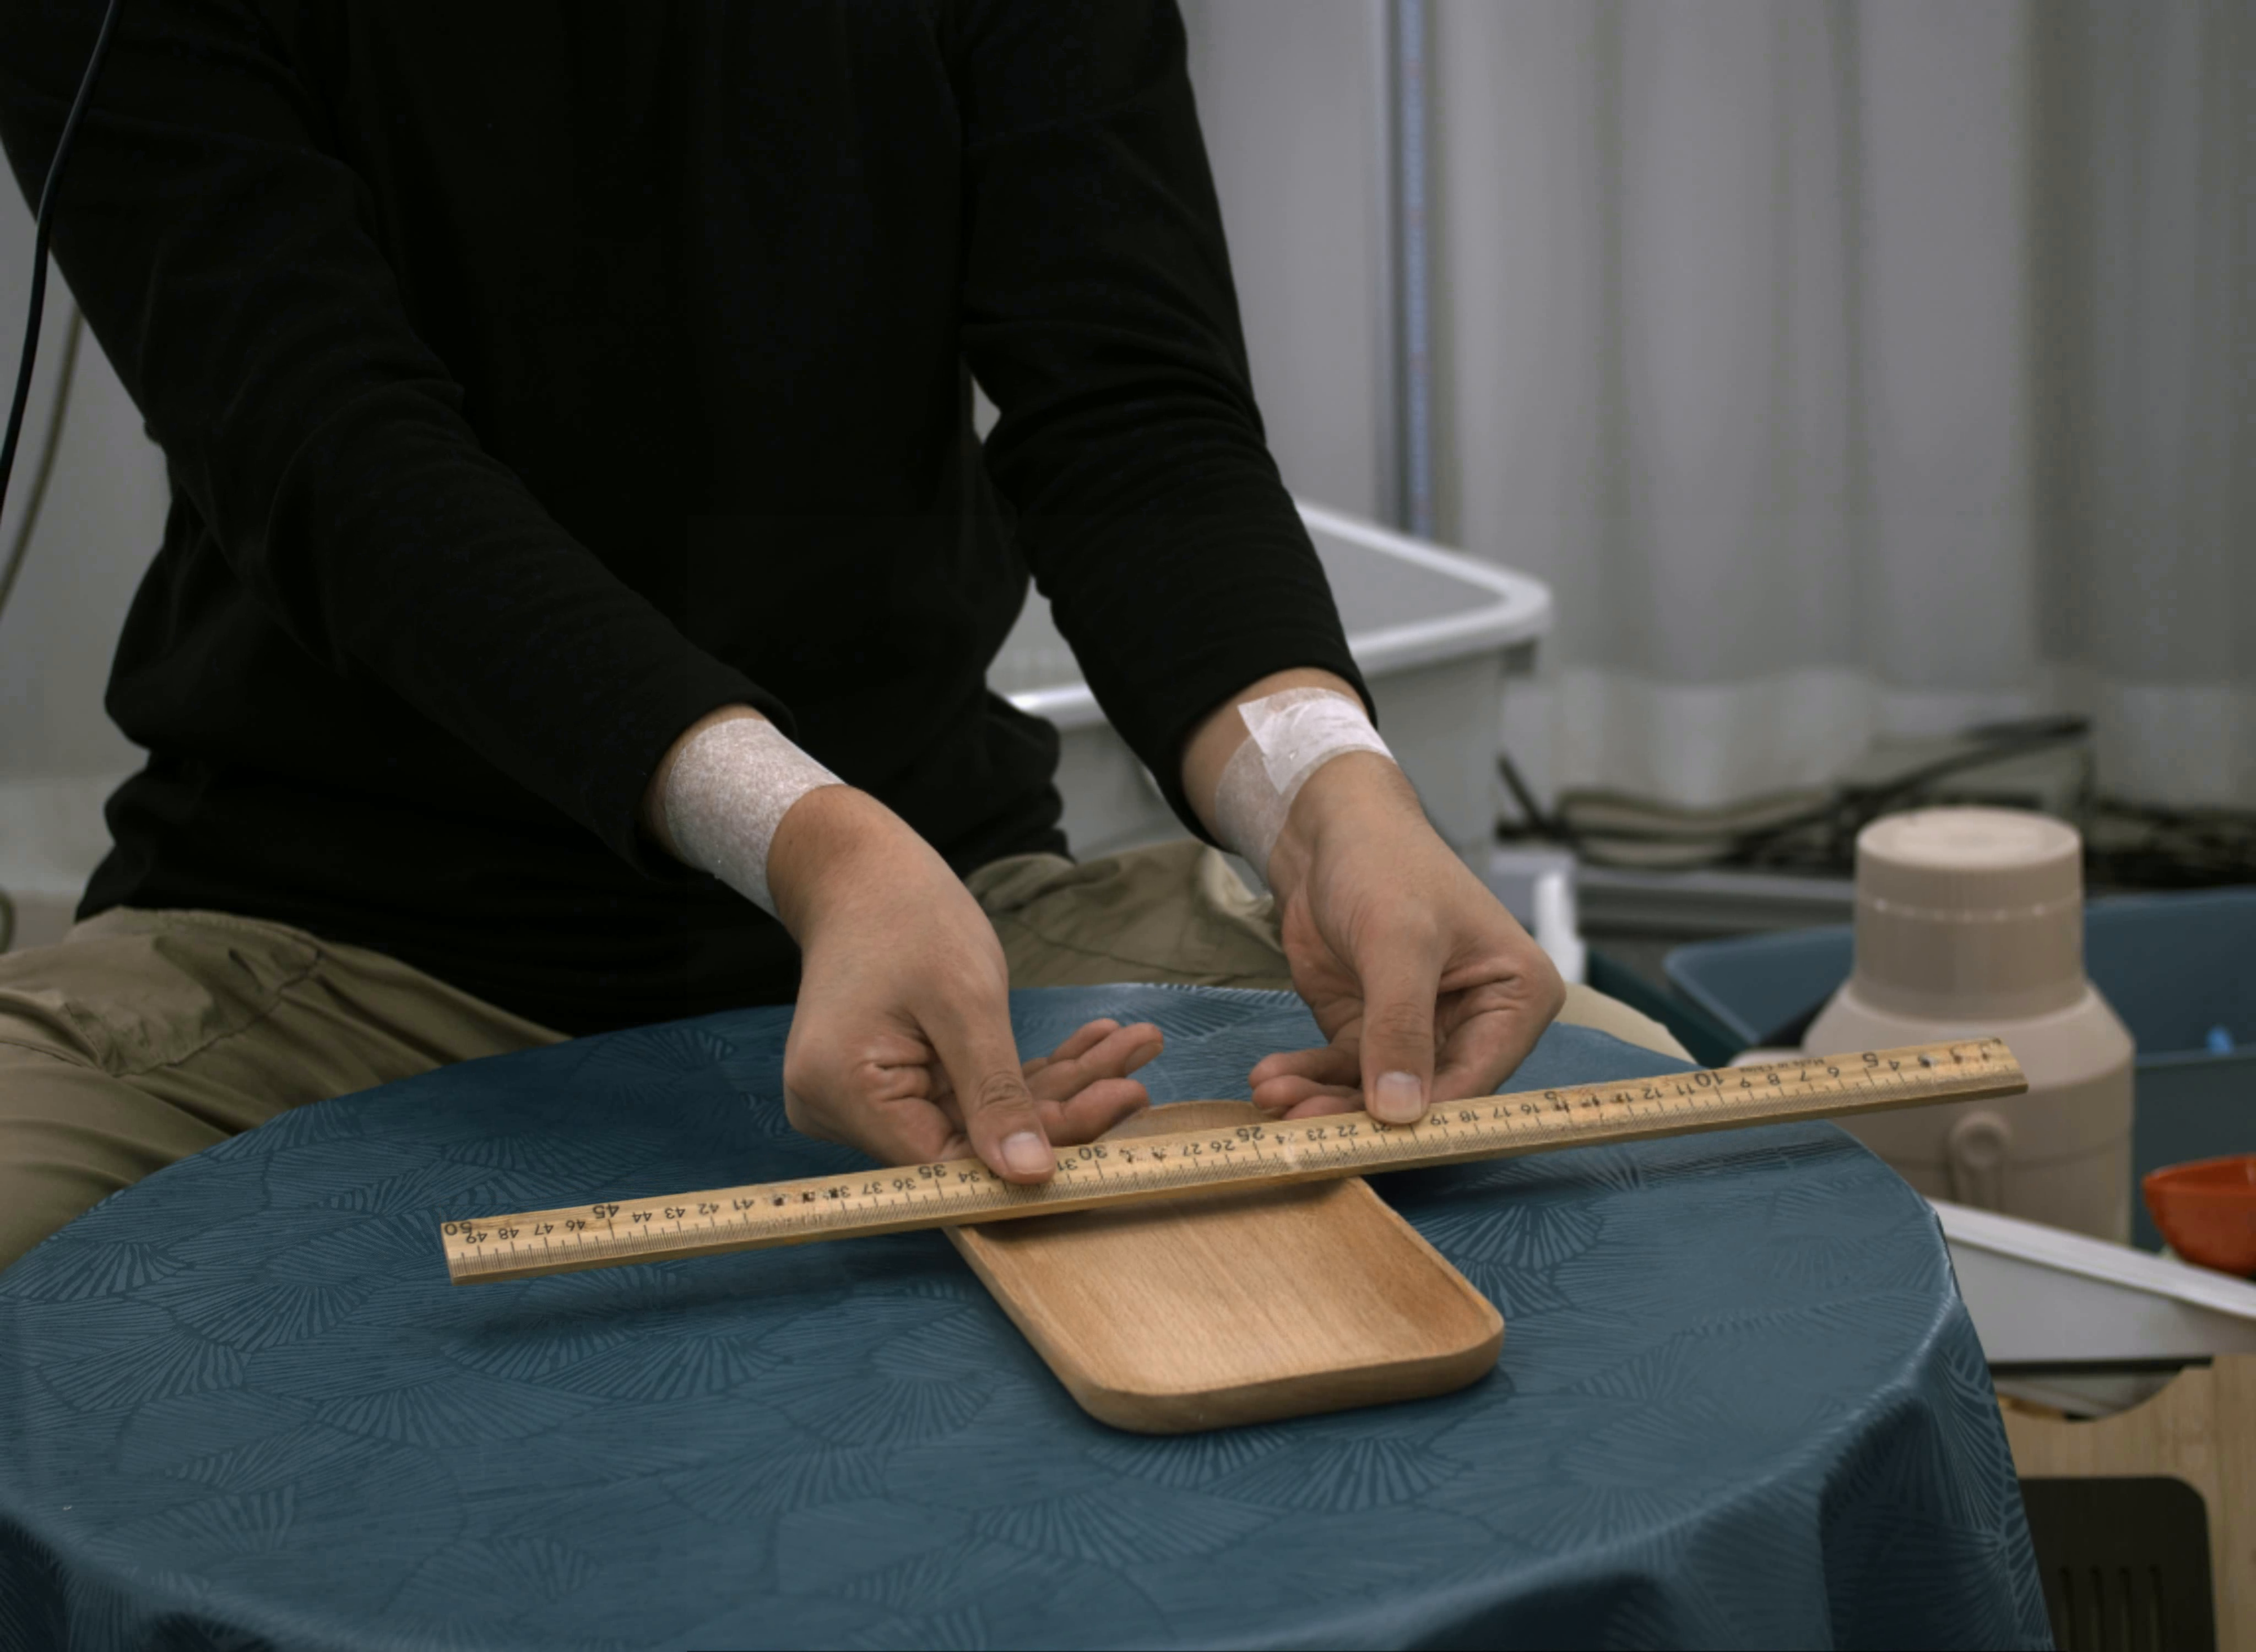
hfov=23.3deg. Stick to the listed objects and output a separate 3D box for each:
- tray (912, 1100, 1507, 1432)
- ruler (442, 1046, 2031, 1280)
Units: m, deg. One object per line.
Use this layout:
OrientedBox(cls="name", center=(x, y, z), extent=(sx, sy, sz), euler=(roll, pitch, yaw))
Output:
OrientedBox(cls="tray", center=(0.020, 0.128, 1.628), extent=(0.130, 0.023, 0.252), euler=(-4, 14, -14))
OrientedBox(cls="ruler", center=(0.039, 0.101, 1.673), extent=(0.498, 0.006, 0.027), euler=(-6, 36, -13))
